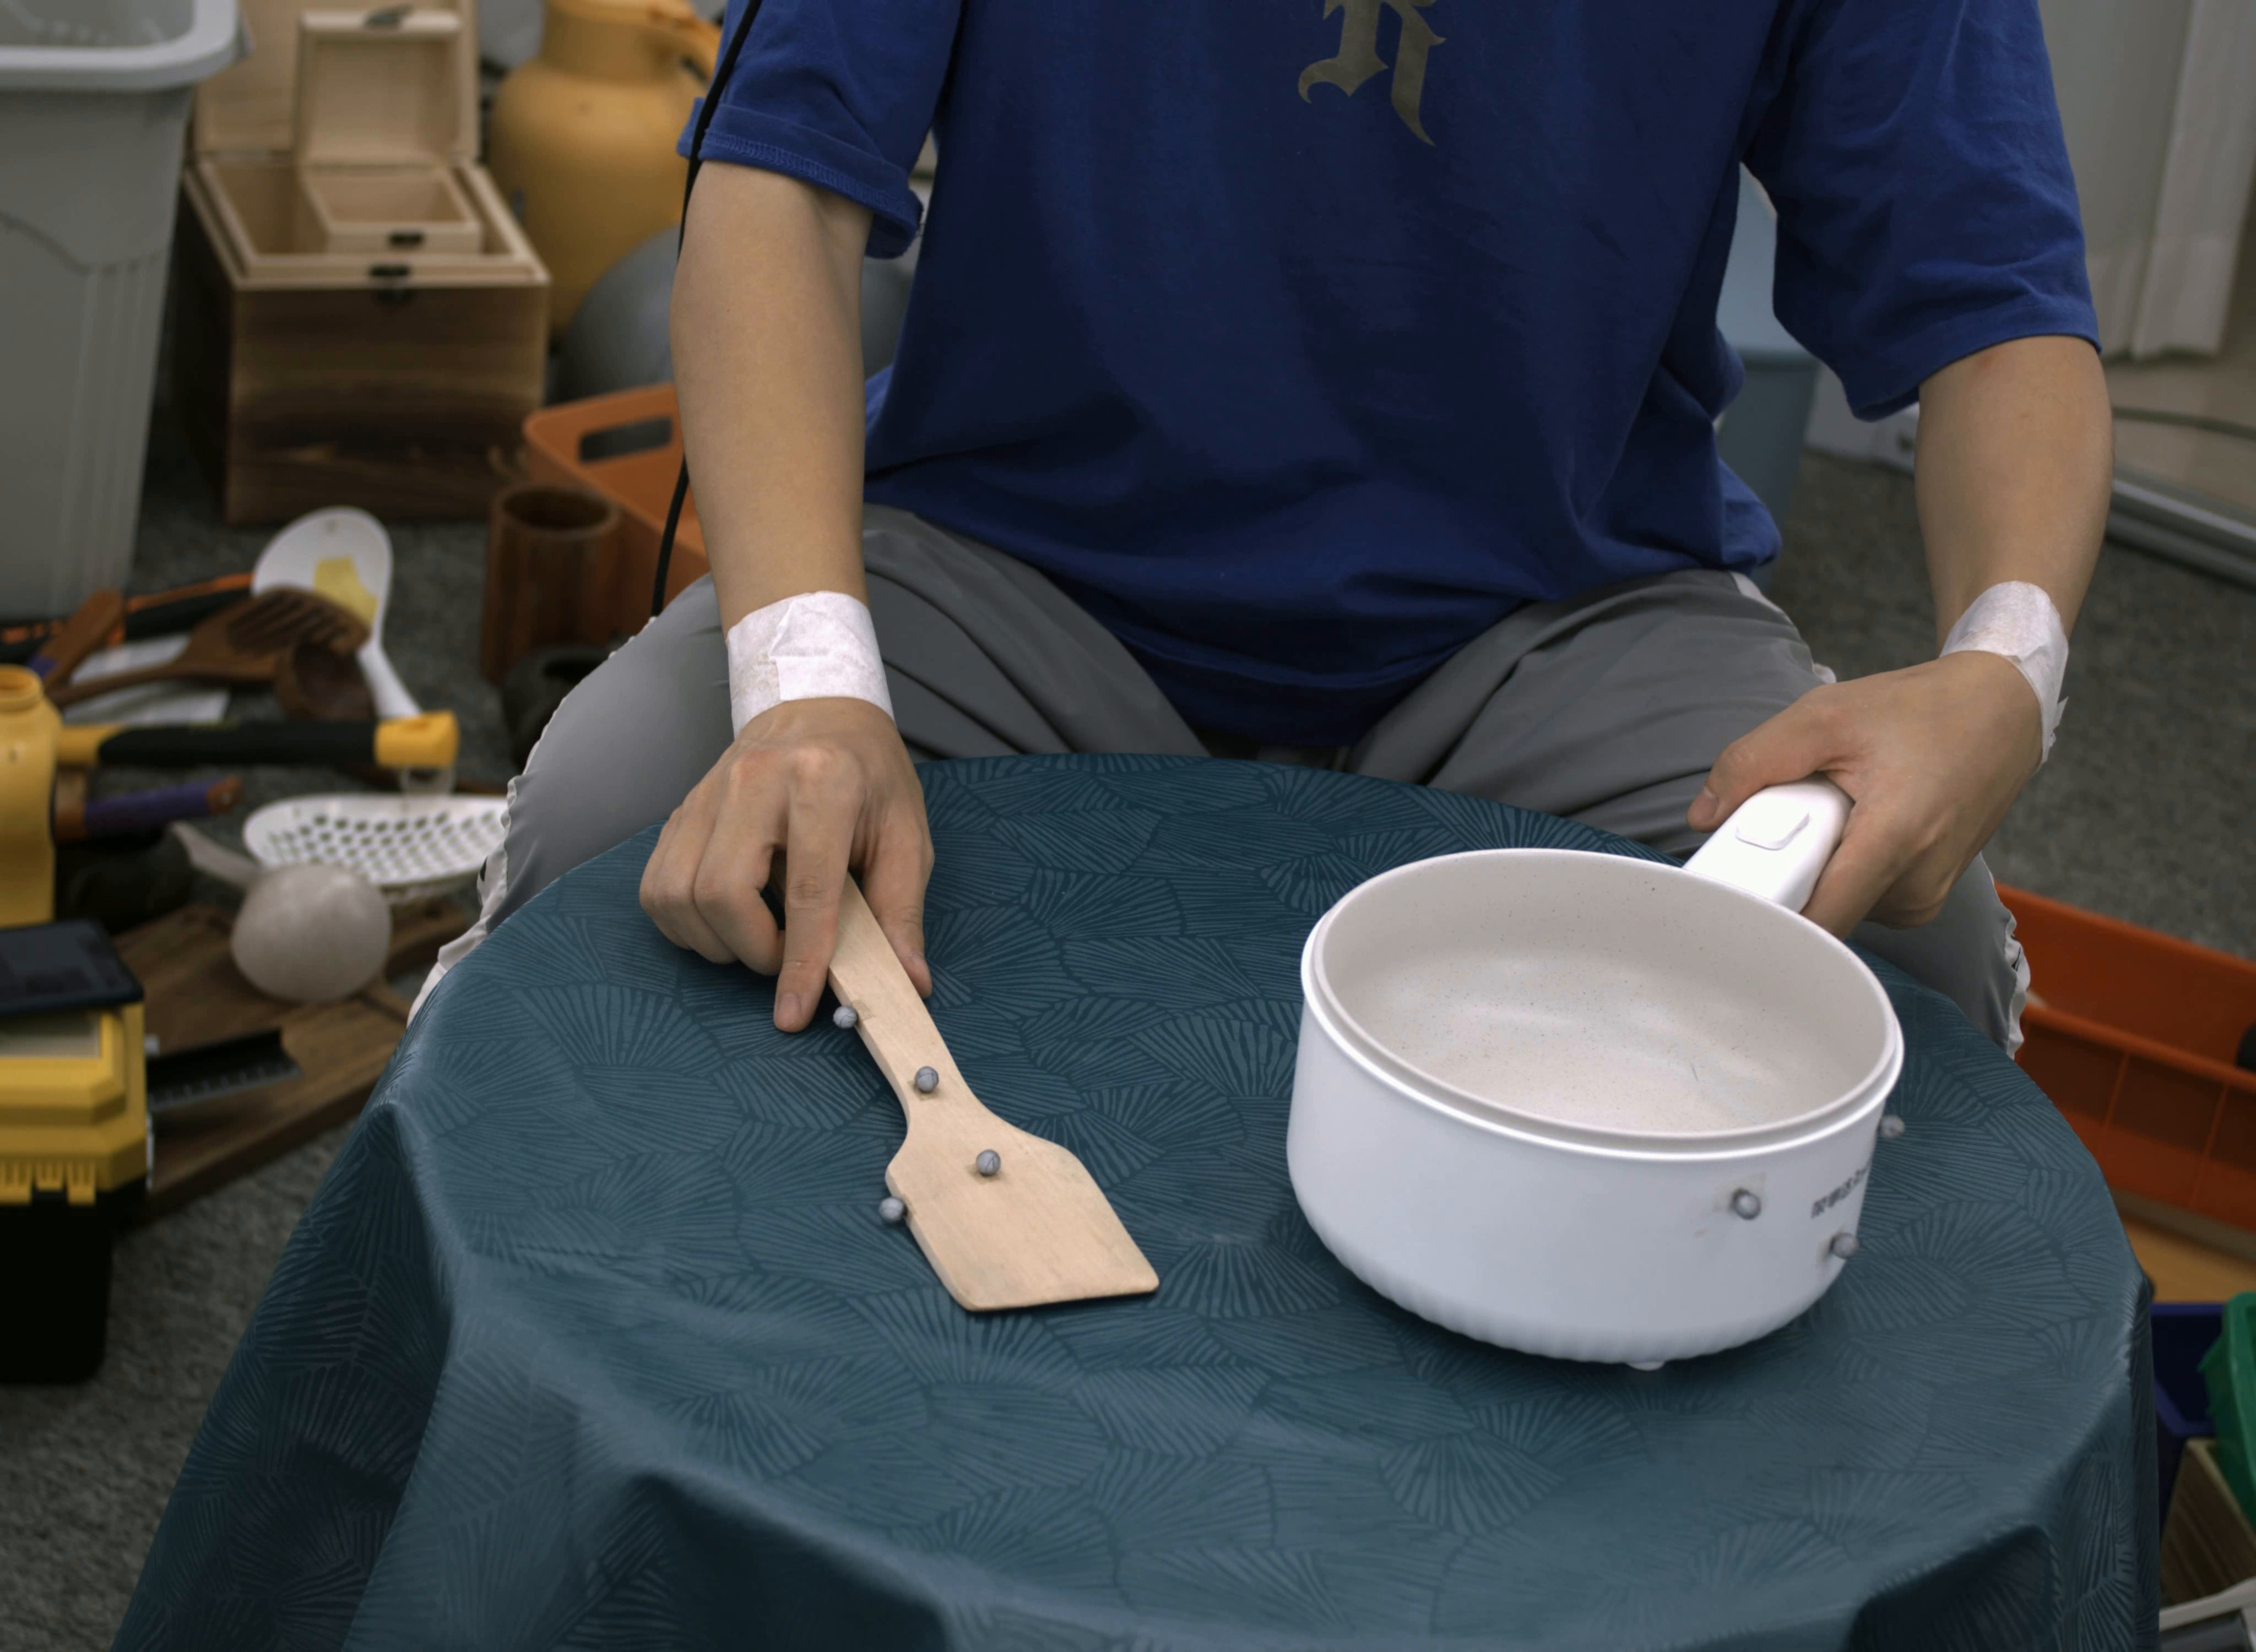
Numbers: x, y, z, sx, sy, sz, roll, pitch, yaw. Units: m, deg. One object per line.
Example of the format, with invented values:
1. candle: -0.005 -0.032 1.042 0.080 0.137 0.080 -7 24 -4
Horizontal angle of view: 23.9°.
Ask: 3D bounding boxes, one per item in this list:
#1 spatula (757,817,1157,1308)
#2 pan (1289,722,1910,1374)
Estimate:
1. spatula: -0.074 0.078 1.848 0.072 0.010 0.296 -5 34 -22
2. pan: 0.187 0.071 1.843 0.202 0.102 0.354 16 28 22
